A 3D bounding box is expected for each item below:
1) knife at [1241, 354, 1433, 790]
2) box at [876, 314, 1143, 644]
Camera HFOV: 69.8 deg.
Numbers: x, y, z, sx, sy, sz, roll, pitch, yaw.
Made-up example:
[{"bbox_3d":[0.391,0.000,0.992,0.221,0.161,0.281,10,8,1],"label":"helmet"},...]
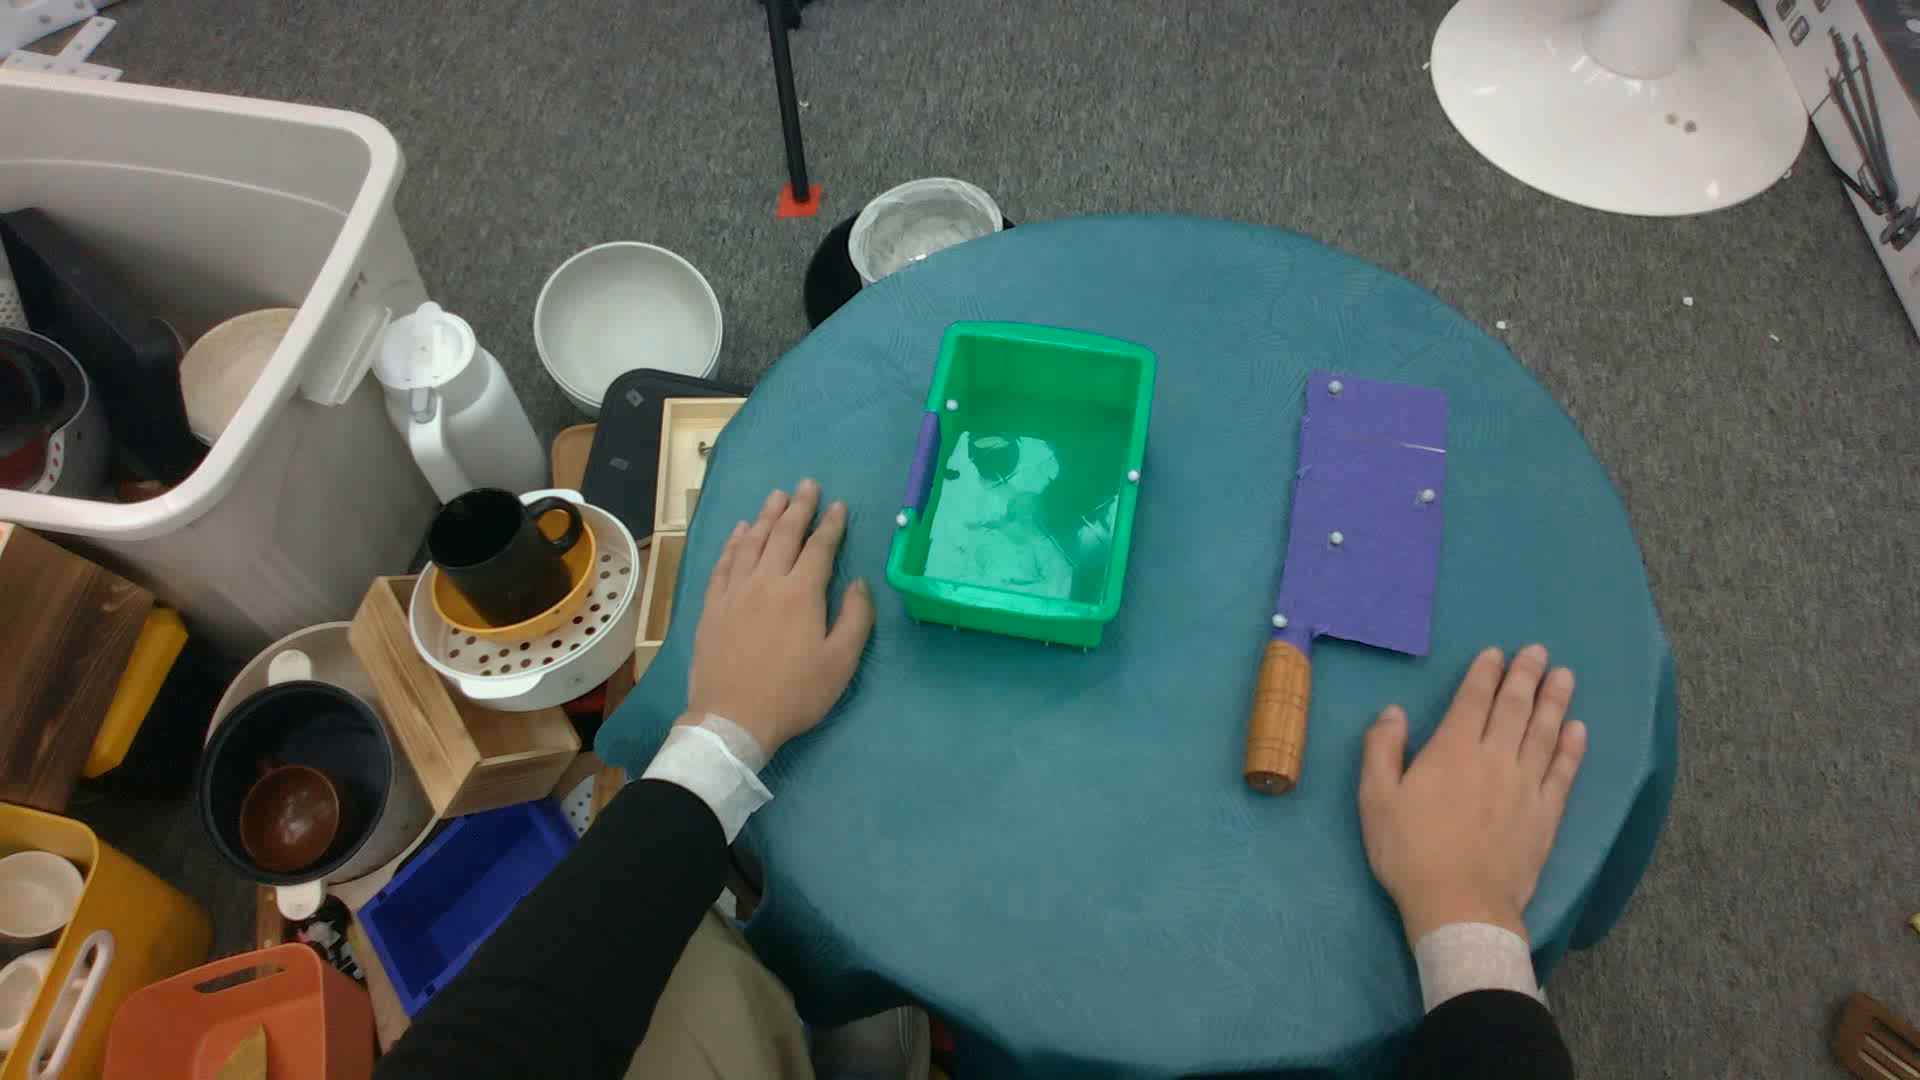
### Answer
[{"bbox_3d":[0.236,0.010,0.848,0.104,0.032,0.316,11,59,7],"label":"knife"},{"bbox_3d":[0.034,-0.036,0.856,0.138,0.065,0.211,7,61,6],"label":"box"}]
